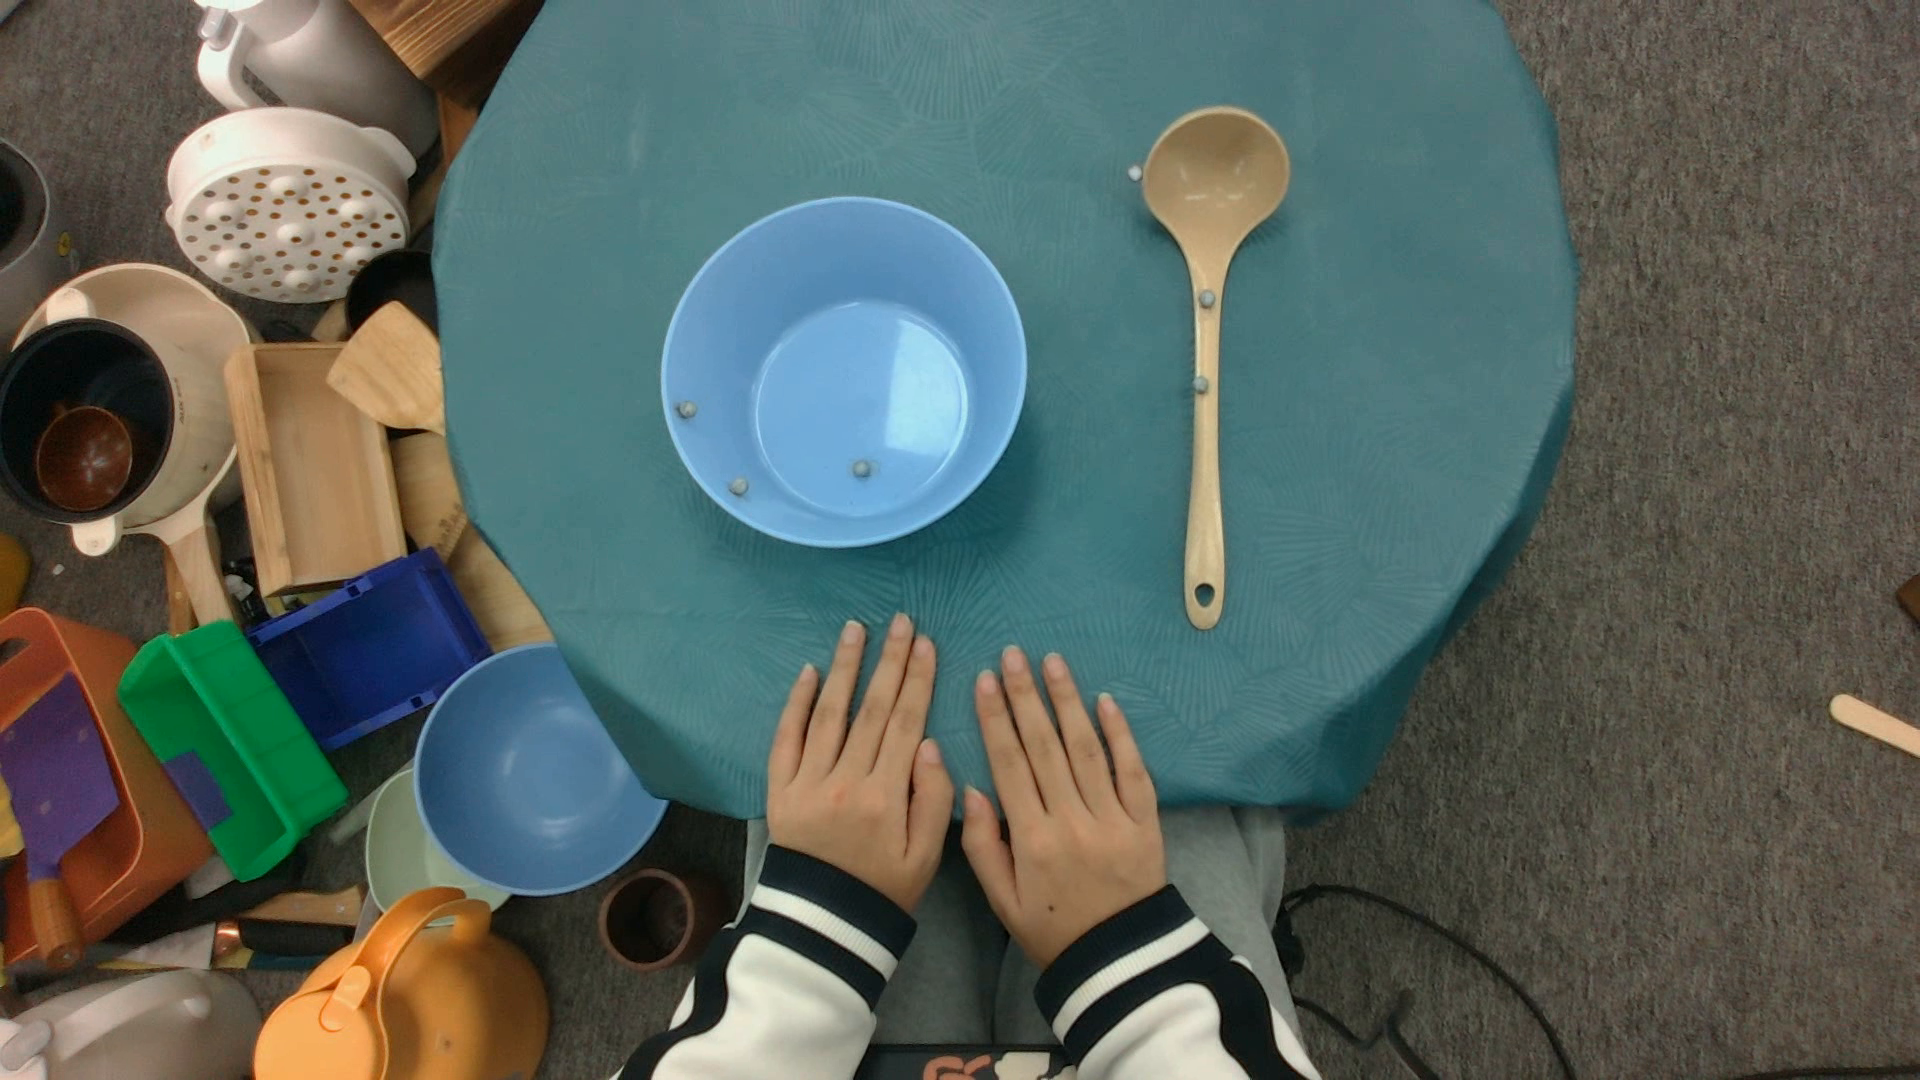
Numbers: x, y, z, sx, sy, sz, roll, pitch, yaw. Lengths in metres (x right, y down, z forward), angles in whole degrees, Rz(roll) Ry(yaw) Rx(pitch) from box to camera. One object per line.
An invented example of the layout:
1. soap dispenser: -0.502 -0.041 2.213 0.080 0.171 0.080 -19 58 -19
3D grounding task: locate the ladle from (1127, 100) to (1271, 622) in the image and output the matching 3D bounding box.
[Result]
1. ladle: 0.120 -0.091 0.673 0.072 0.072 0.255 -1 76 5

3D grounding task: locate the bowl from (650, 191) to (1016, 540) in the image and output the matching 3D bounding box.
1. bowl: -0.058 -0.078 0.684 0.176 0.070 0.176 -1 76 5
